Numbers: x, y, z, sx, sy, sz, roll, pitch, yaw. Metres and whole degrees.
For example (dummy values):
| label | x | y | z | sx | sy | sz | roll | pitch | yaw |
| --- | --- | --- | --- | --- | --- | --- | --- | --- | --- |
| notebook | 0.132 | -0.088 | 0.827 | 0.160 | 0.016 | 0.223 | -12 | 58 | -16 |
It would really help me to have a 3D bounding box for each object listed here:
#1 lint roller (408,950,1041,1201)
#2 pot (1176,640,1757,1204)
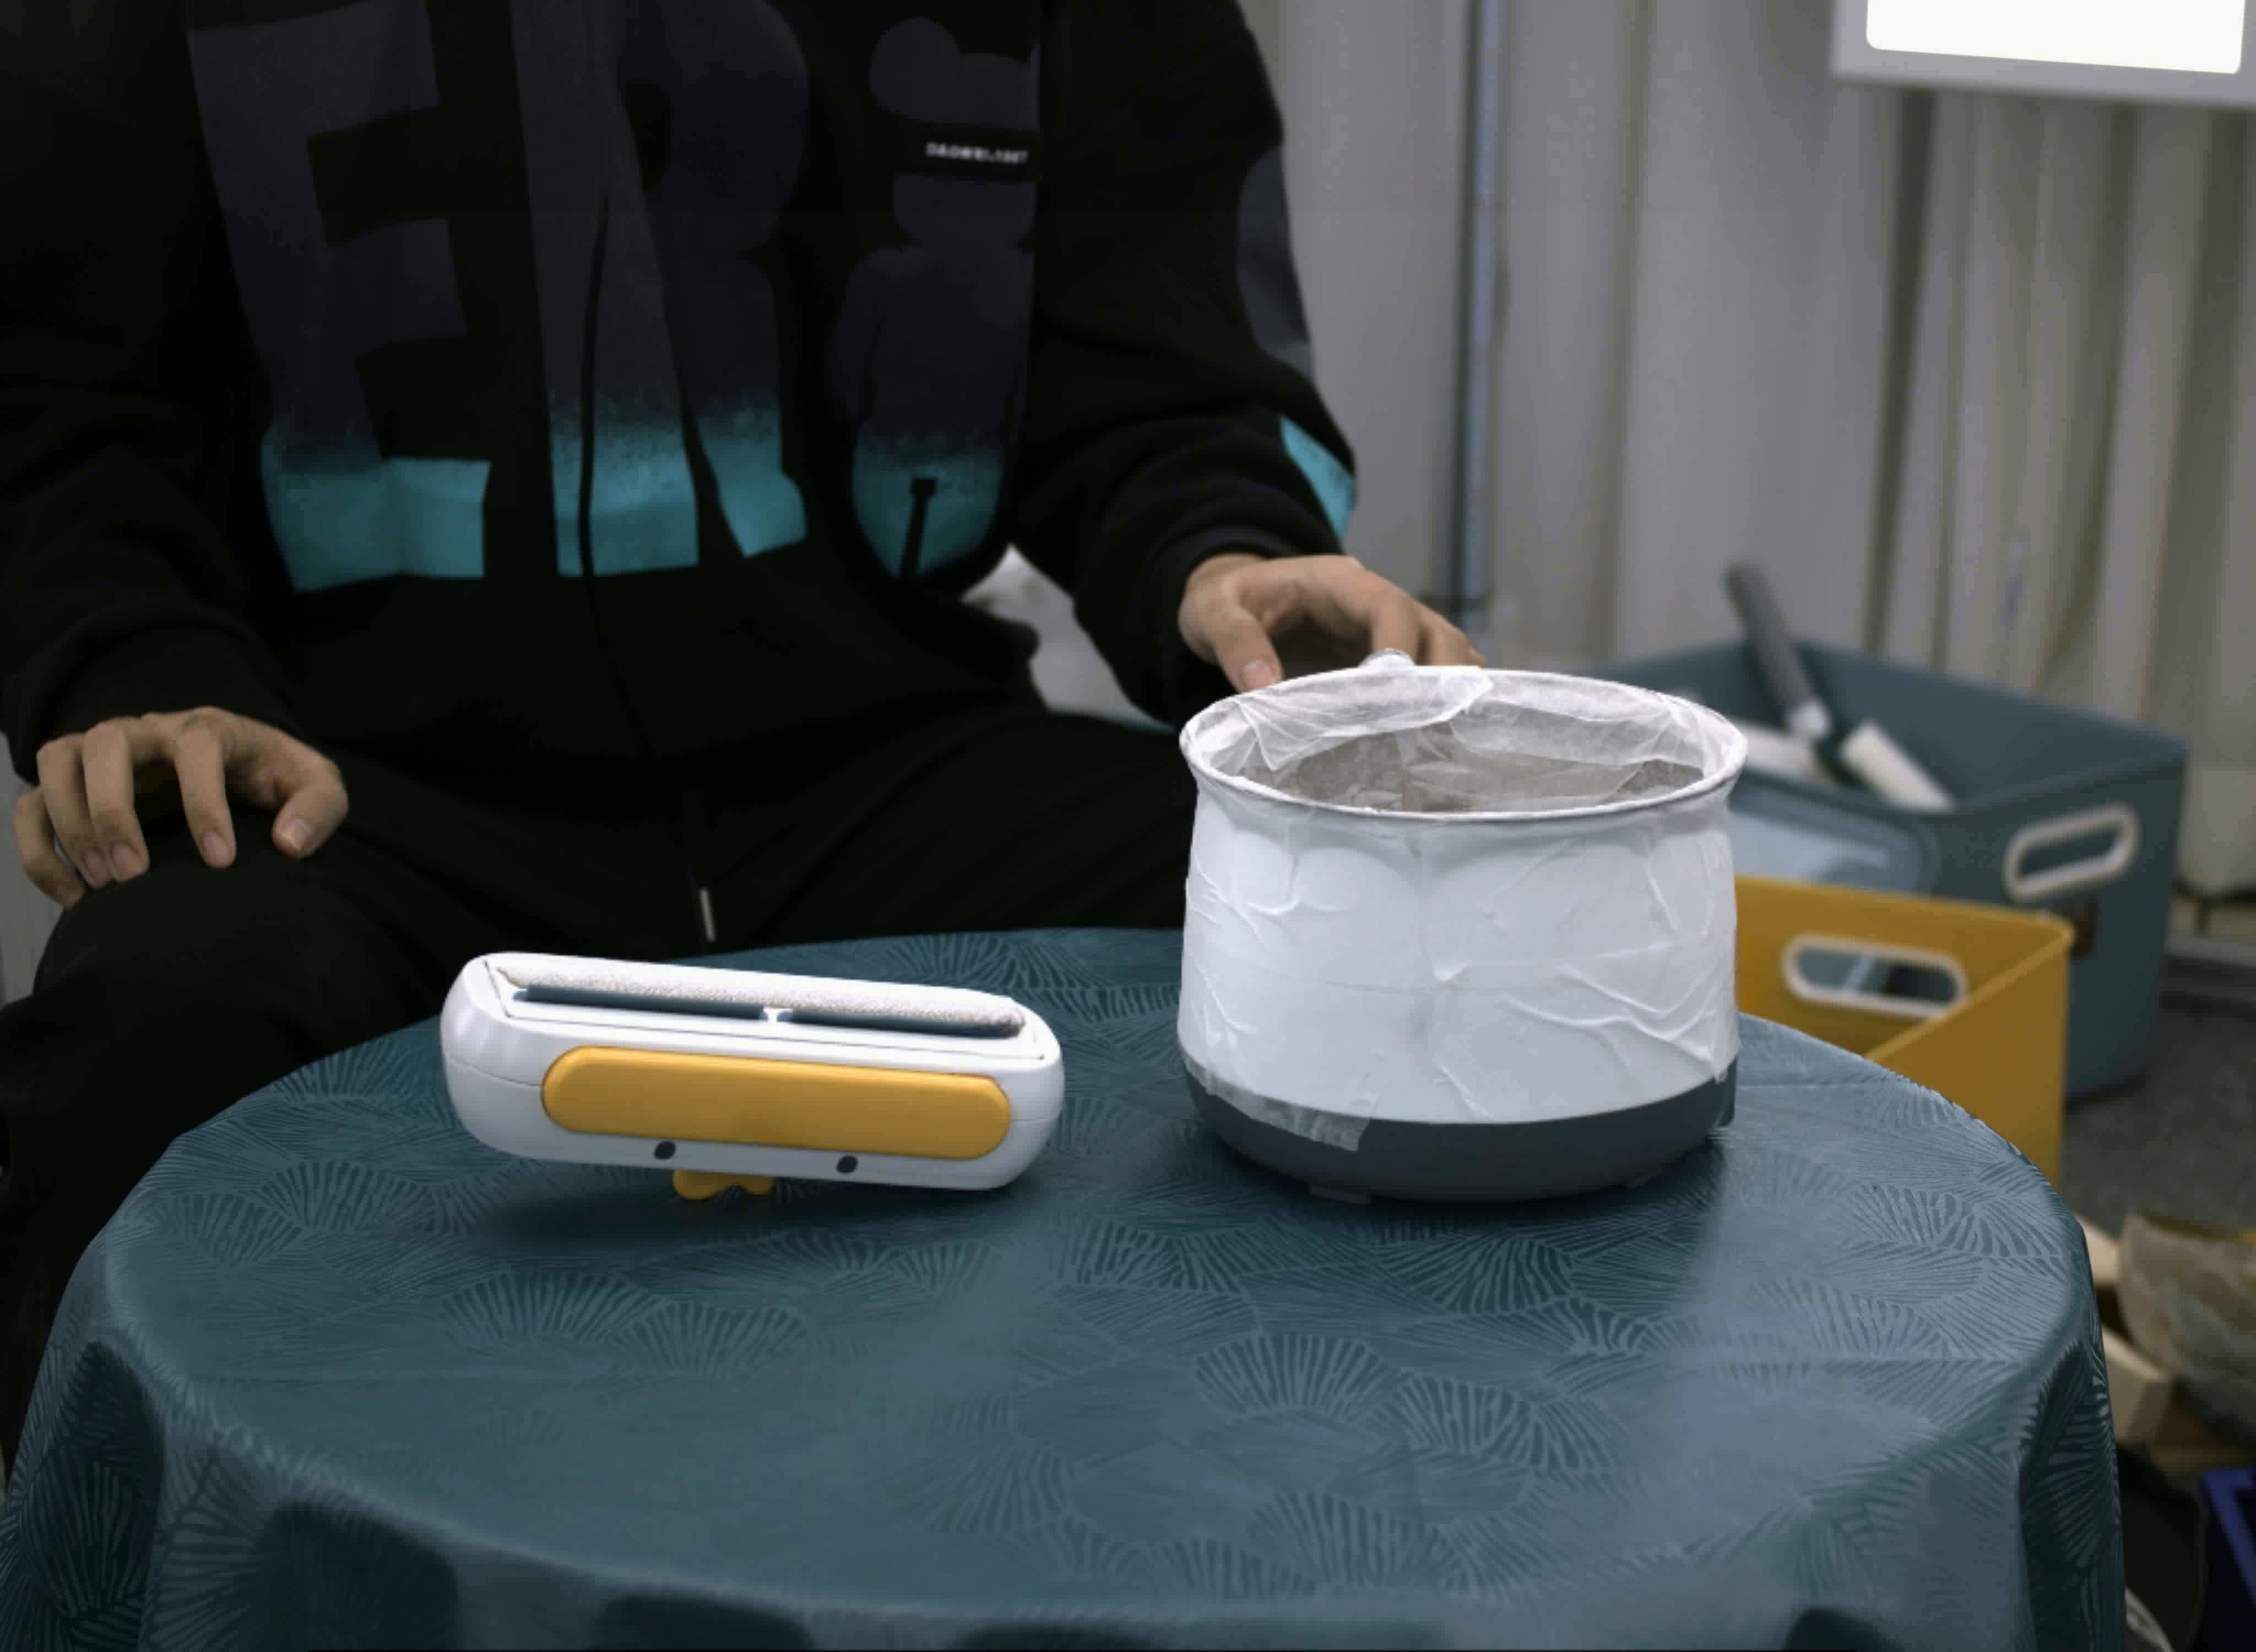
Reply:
| label | x | y | z | sx | sy | sz | roll | pitch | yaw |
| --- | --- | --- | --- | --- | --- | --- | --- | --- | --- |
| lint roller | -0.136 | 0.067 | 1.651 | 0.193 | 0.075 | 0.190 | 2 | 13 | -15 |
| pot | 0.098 | 0.025 | 1.673 | 0.179 | 0.138 | 0.231 | -1 | 17 | -12 |
